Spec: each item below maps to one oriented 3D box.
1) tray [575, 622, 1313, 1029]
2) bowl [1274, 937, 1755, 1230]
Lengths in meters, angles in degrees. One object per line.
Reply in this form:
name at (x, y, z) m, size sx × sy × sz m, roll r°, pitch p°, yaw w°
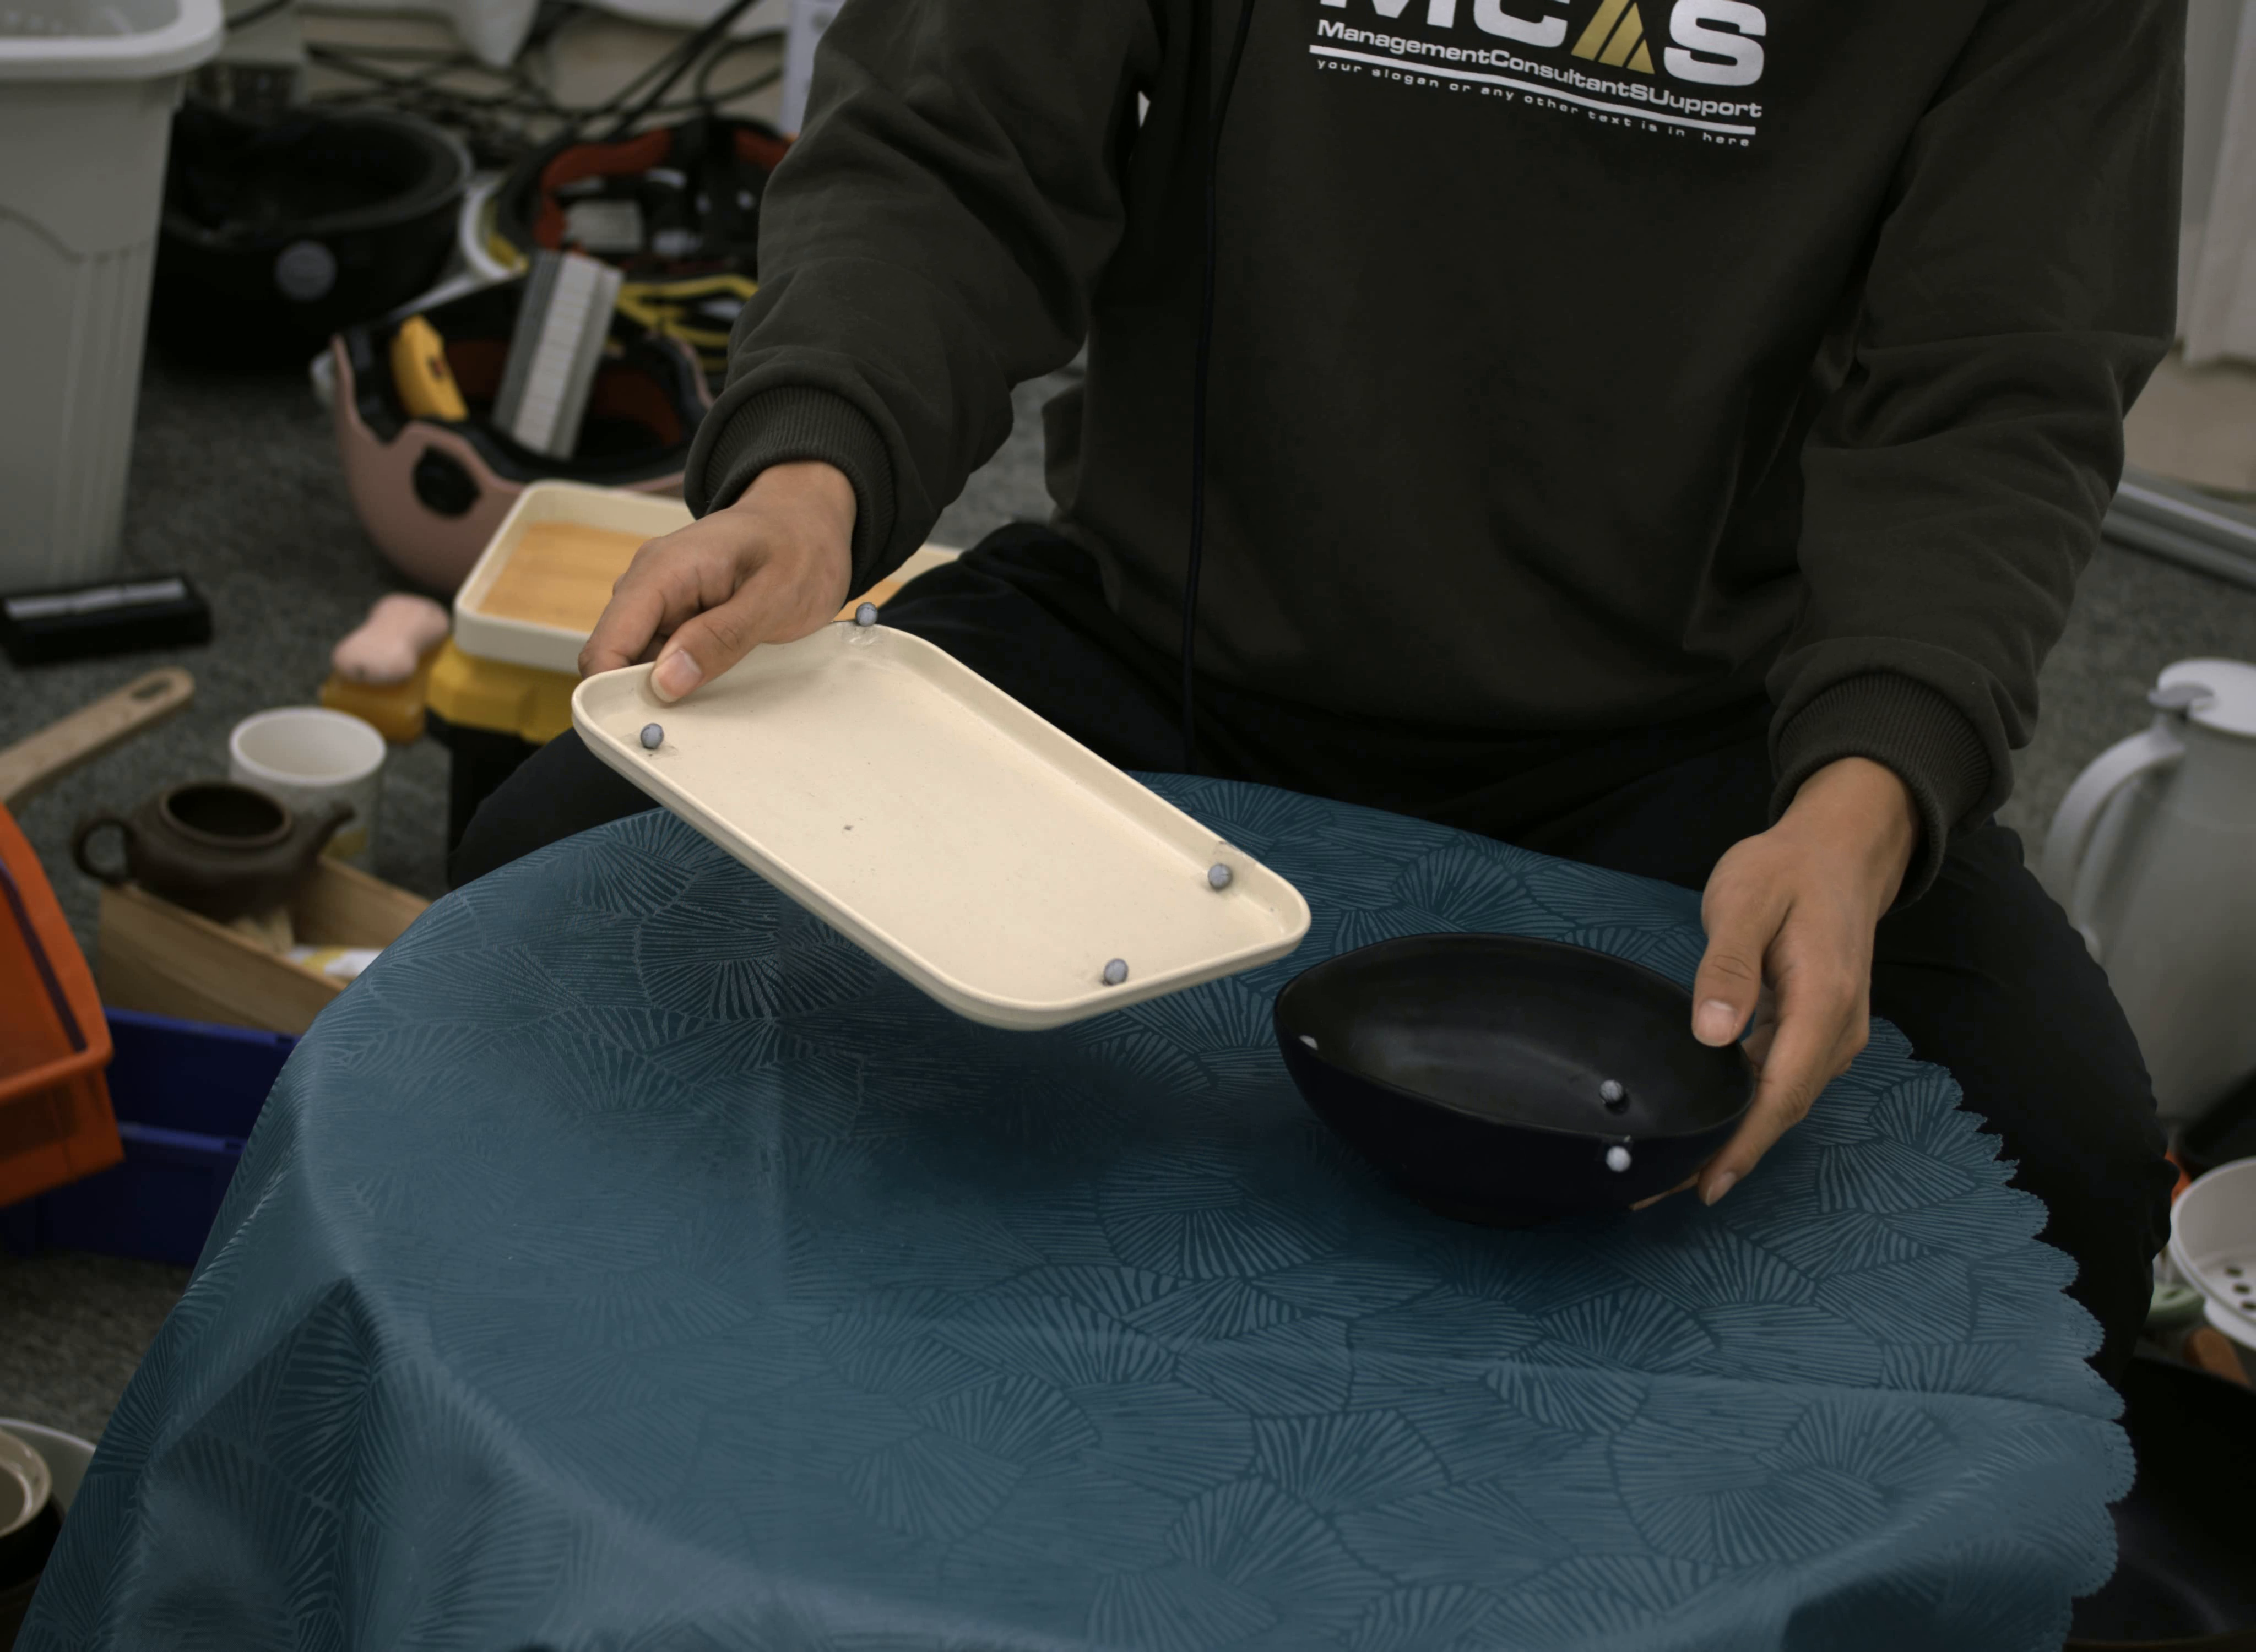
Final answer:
tray at (-0.066, -0.002, 1.839) m, size 0.241 × 0.017 × 0.170 m, roll 34°, pitch 32°, yaw 34°
bowl at (0.128, 0.096, 1.824) m, size 0.171 × 0.066 × 0.137 m, roll 14°, pitch 26°, yaw 19°
